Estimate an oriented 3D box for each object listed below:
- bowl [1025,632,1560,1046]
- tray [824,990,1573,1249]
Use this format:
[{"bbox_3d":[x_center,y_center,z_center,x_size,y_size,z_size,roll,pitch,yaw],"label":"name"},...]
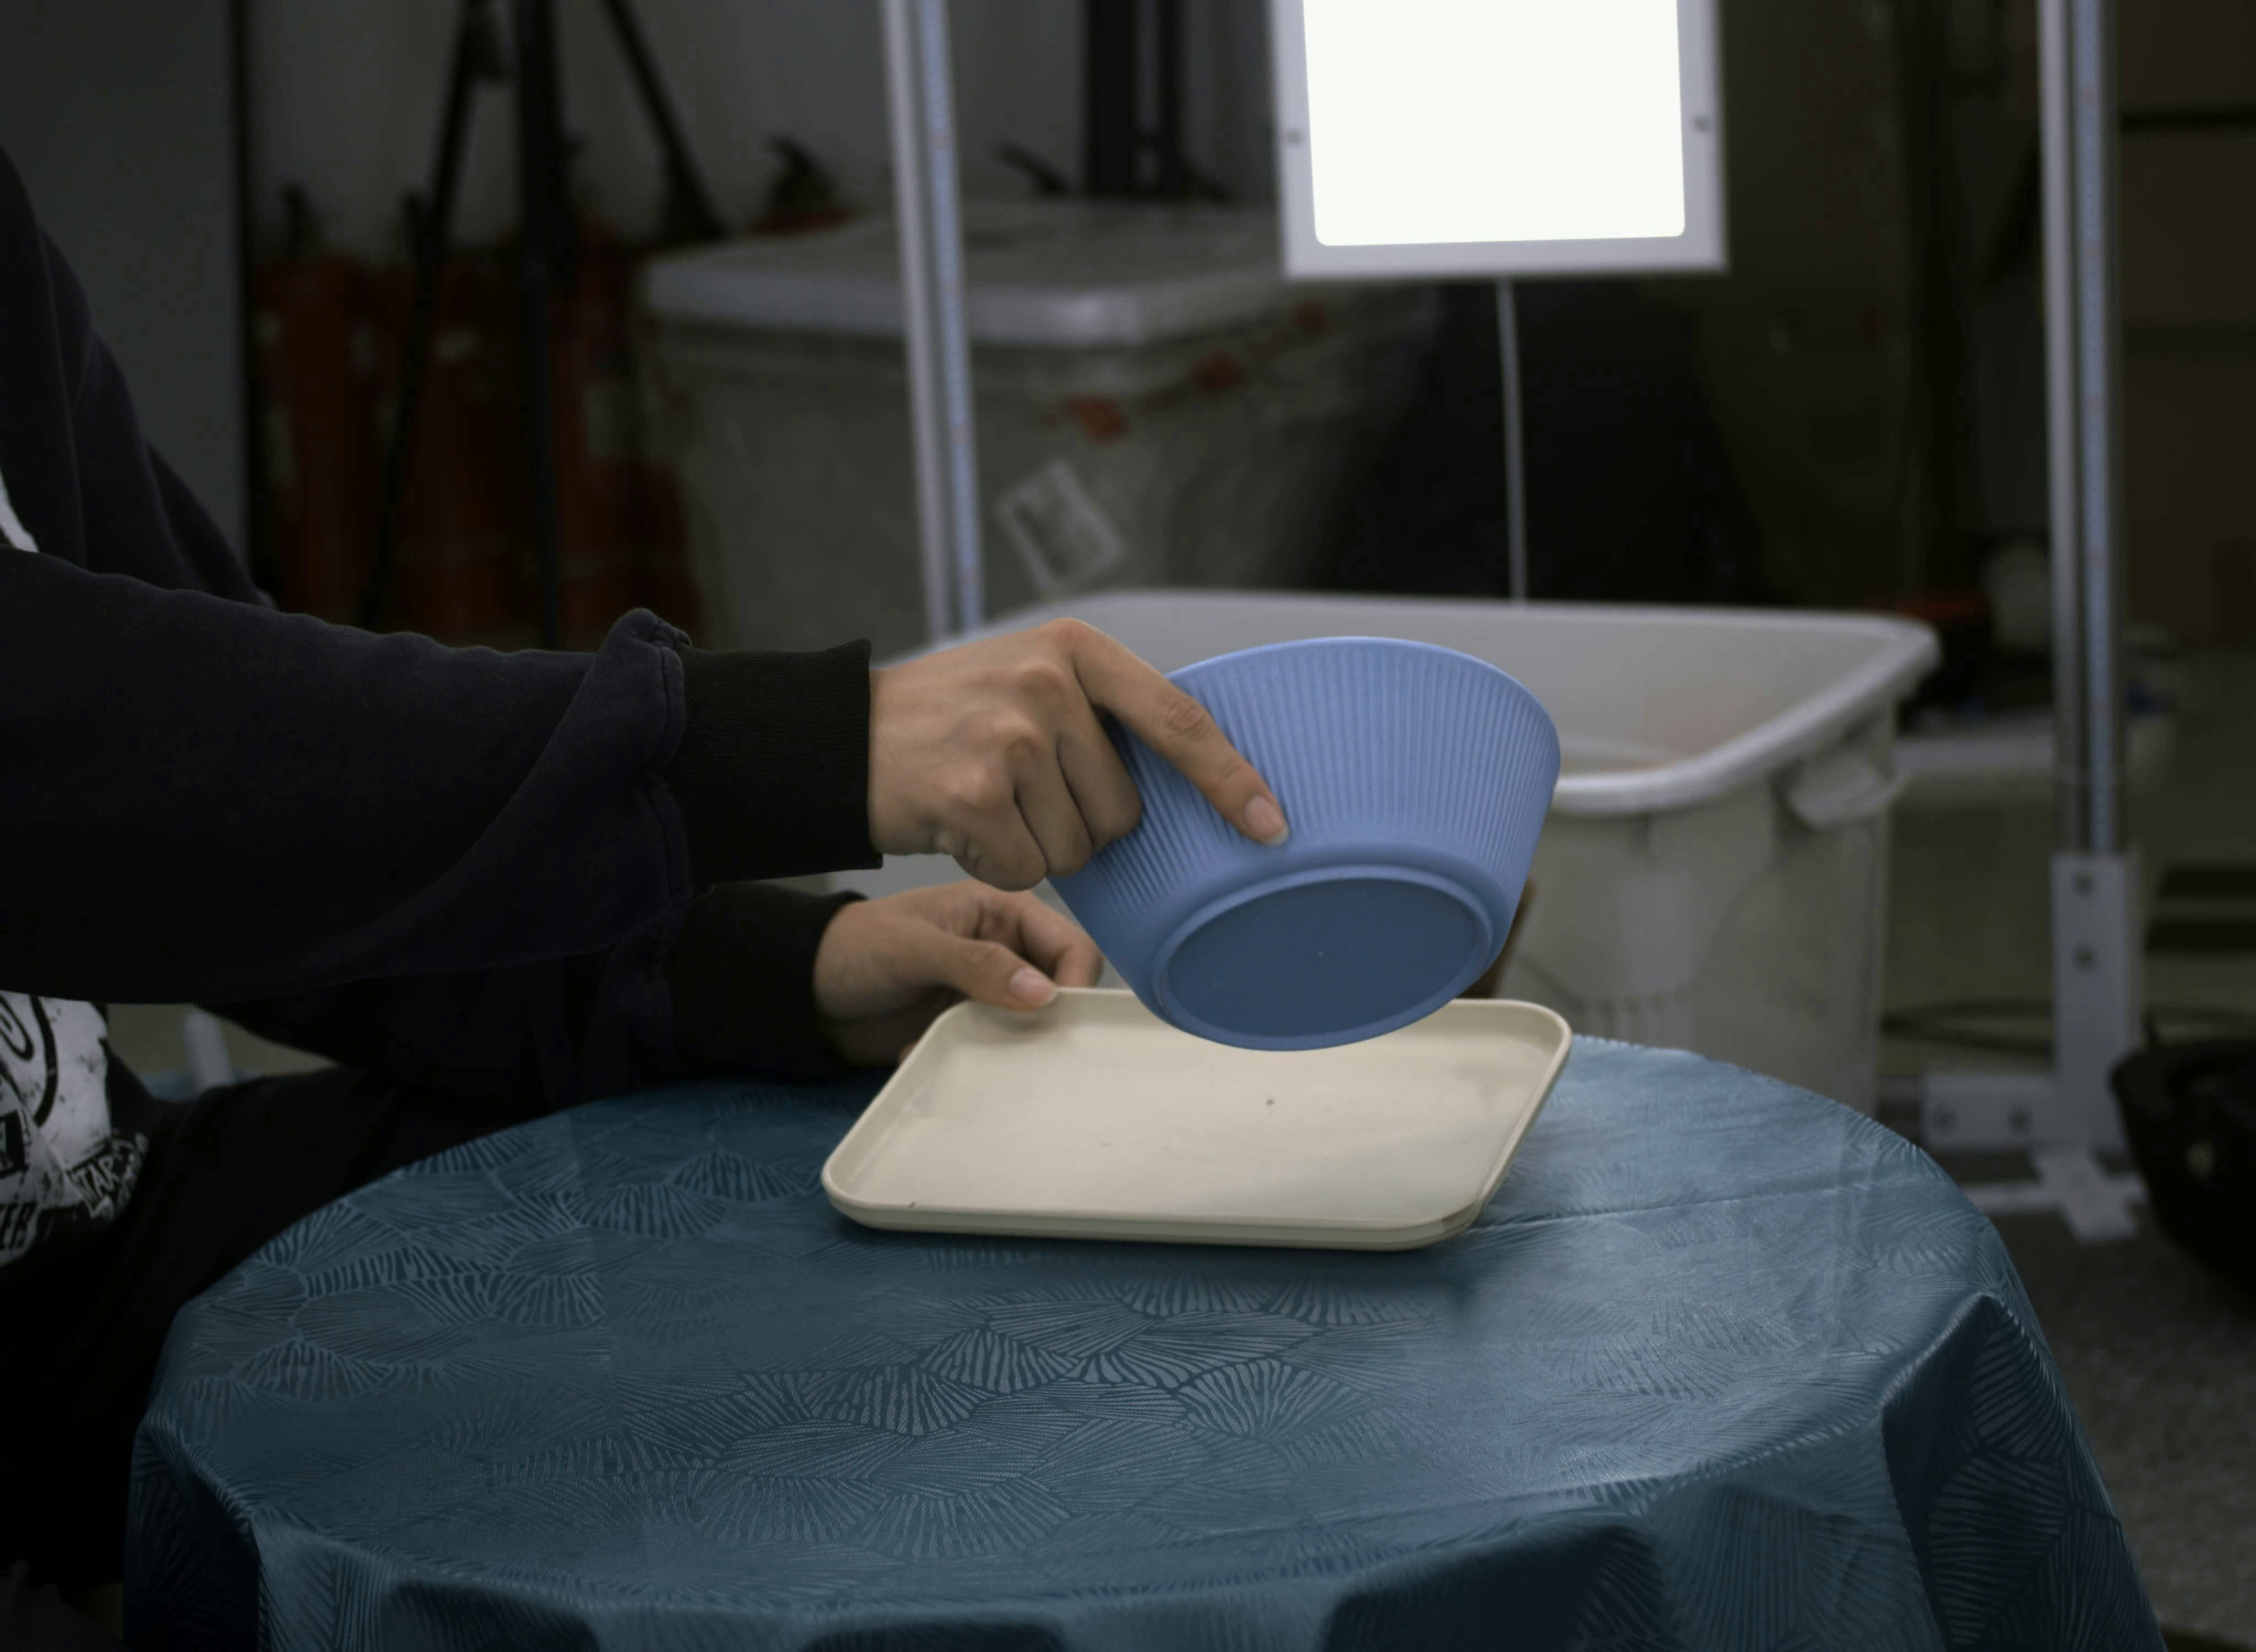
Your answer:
[{"bbox_3d":[0.058,0.014,1.756,0.175,0.177,0.070,-5,58,-4],"label":"bowl"},{"bbox_3d":[0.026,0.101,1.904,0.243,0.017,0.168,0,24,22],"label":"tray"}]
